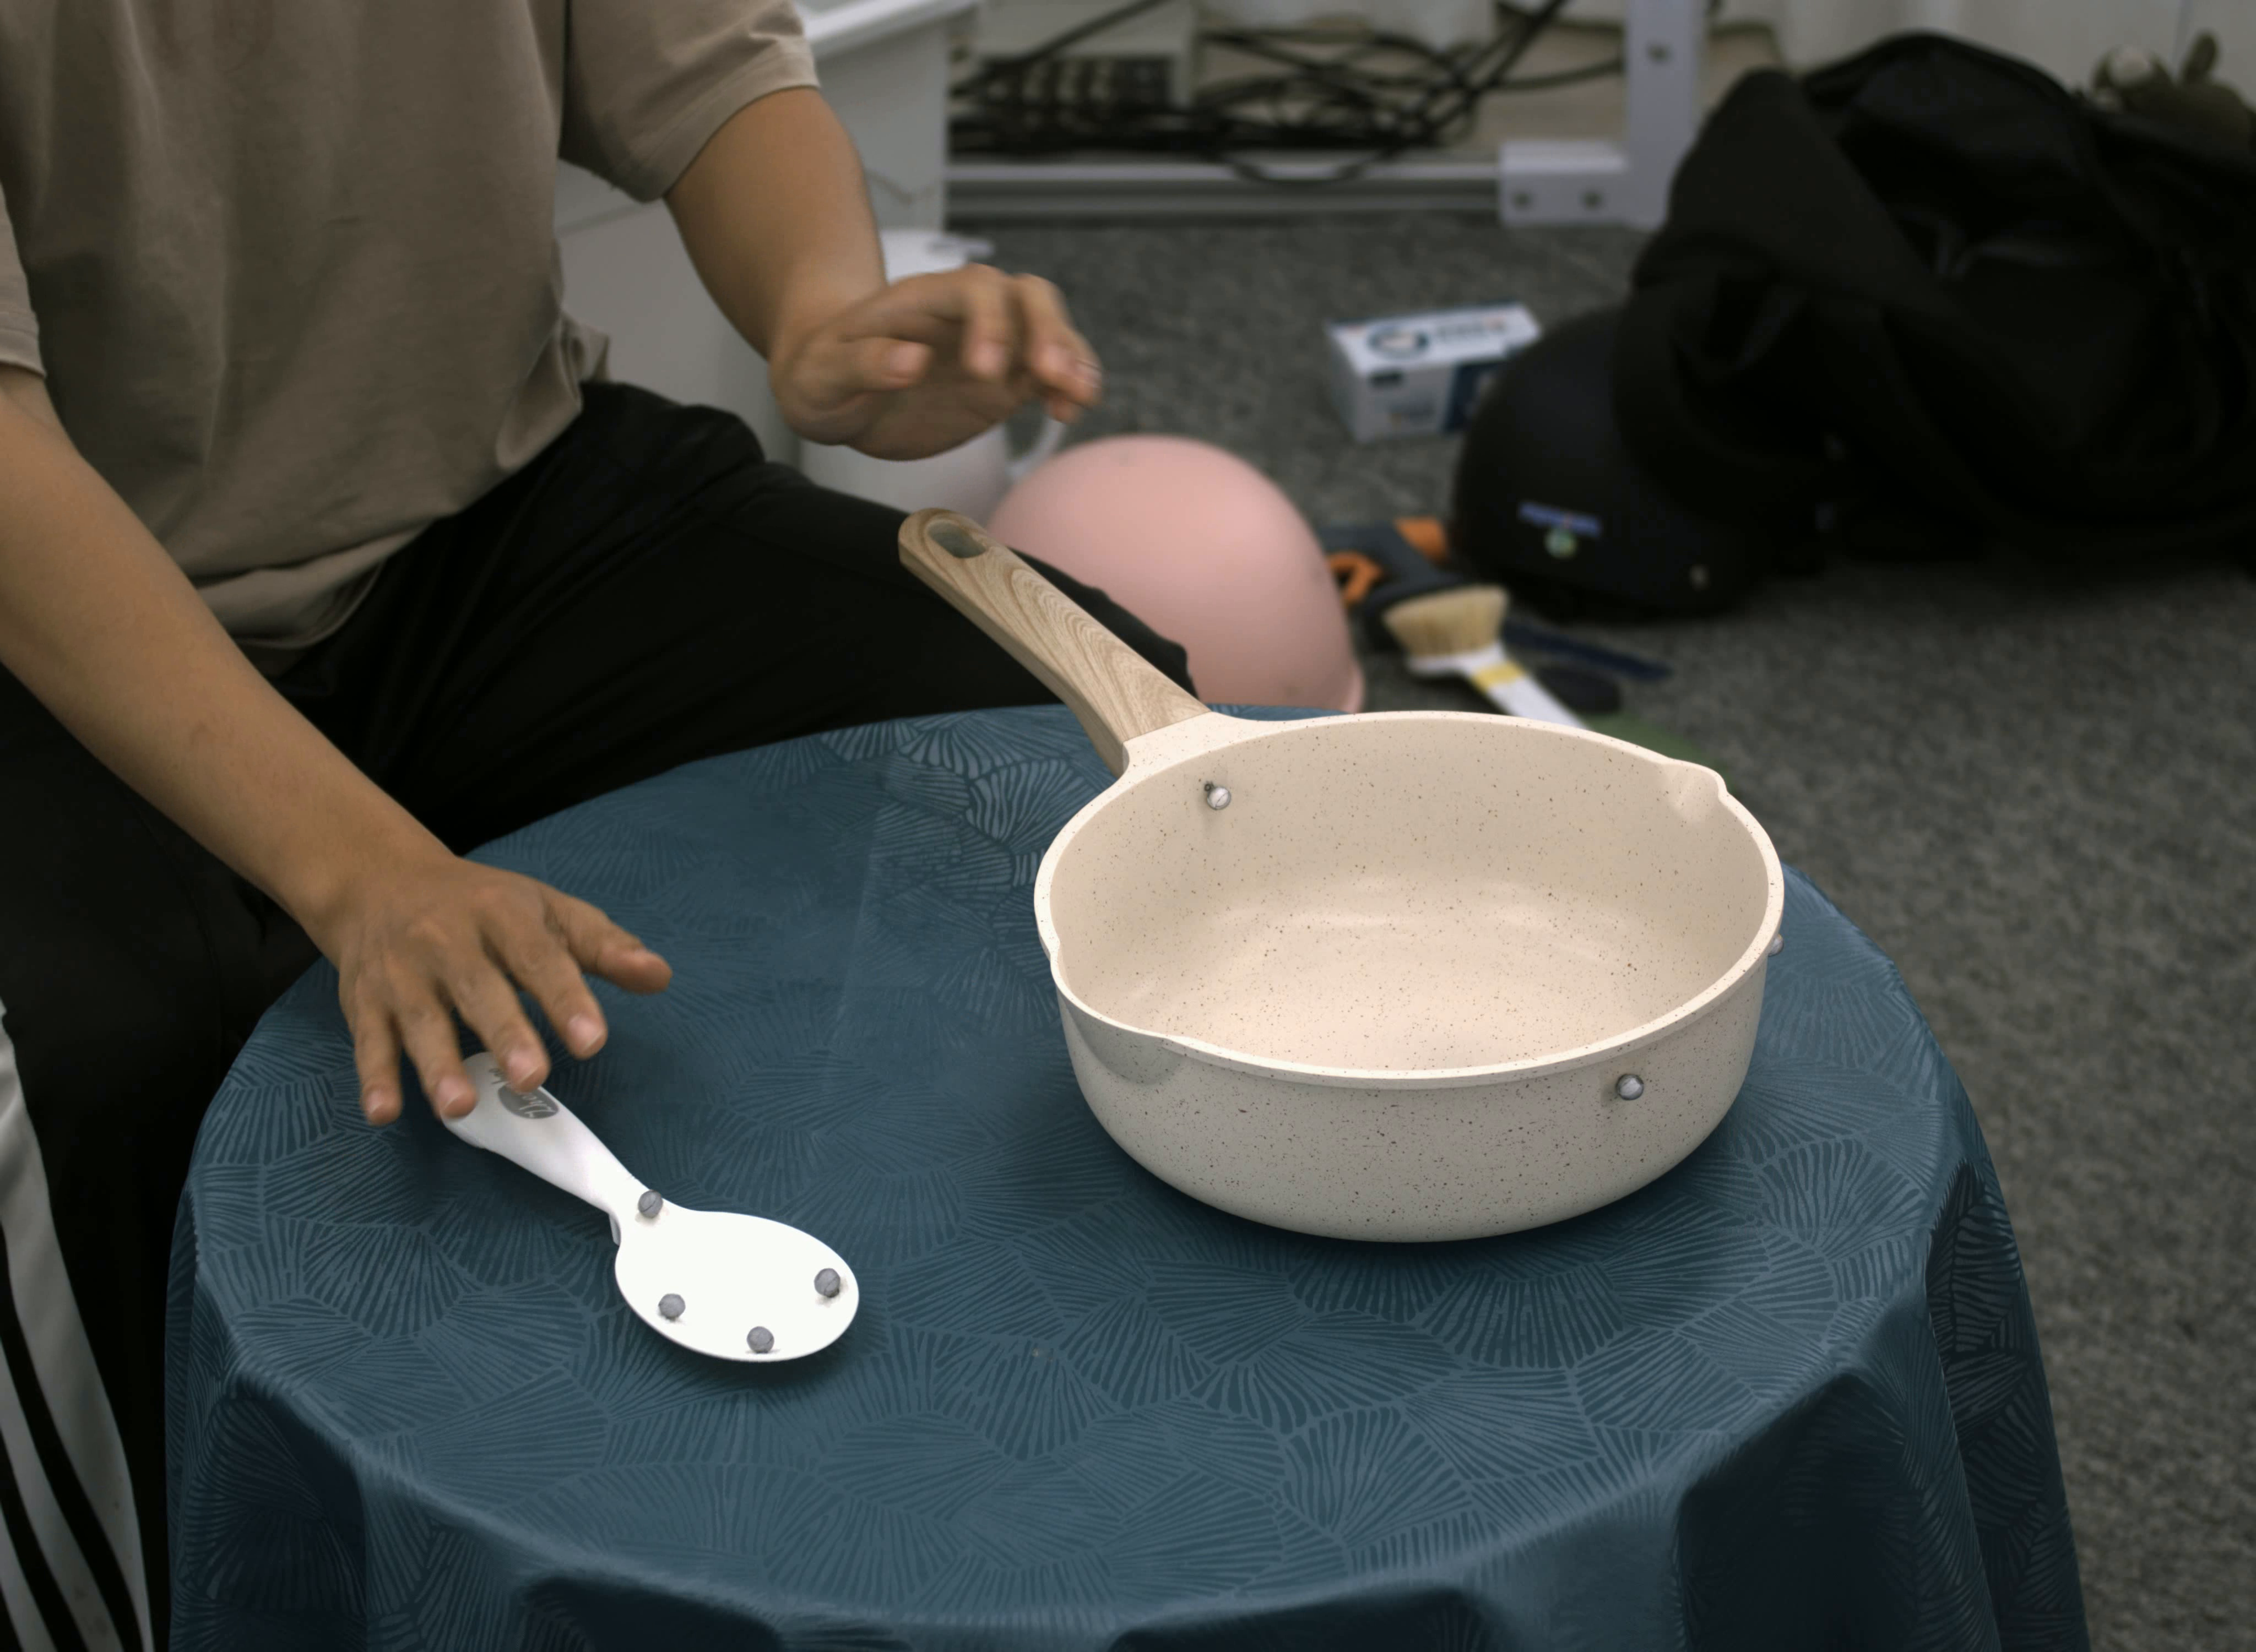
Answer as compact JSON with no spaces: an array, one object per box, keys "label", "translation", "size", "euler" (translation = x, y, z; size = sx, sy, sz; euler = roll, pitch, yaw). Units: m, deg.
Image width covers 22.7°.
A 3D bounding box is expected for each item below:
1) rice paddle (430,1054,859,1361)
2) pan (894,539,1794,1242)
[{"label":"rice paddle","translation":[-0.160,0.126,1.834],"size":[0.069,0.029,0.205],"euler":[-26,36,-30]},{"label":"pan","translation":[0.048,0.014,1.965],"size":[0.265,0.101,0.436],"euler":[-21,32,-28]}]
